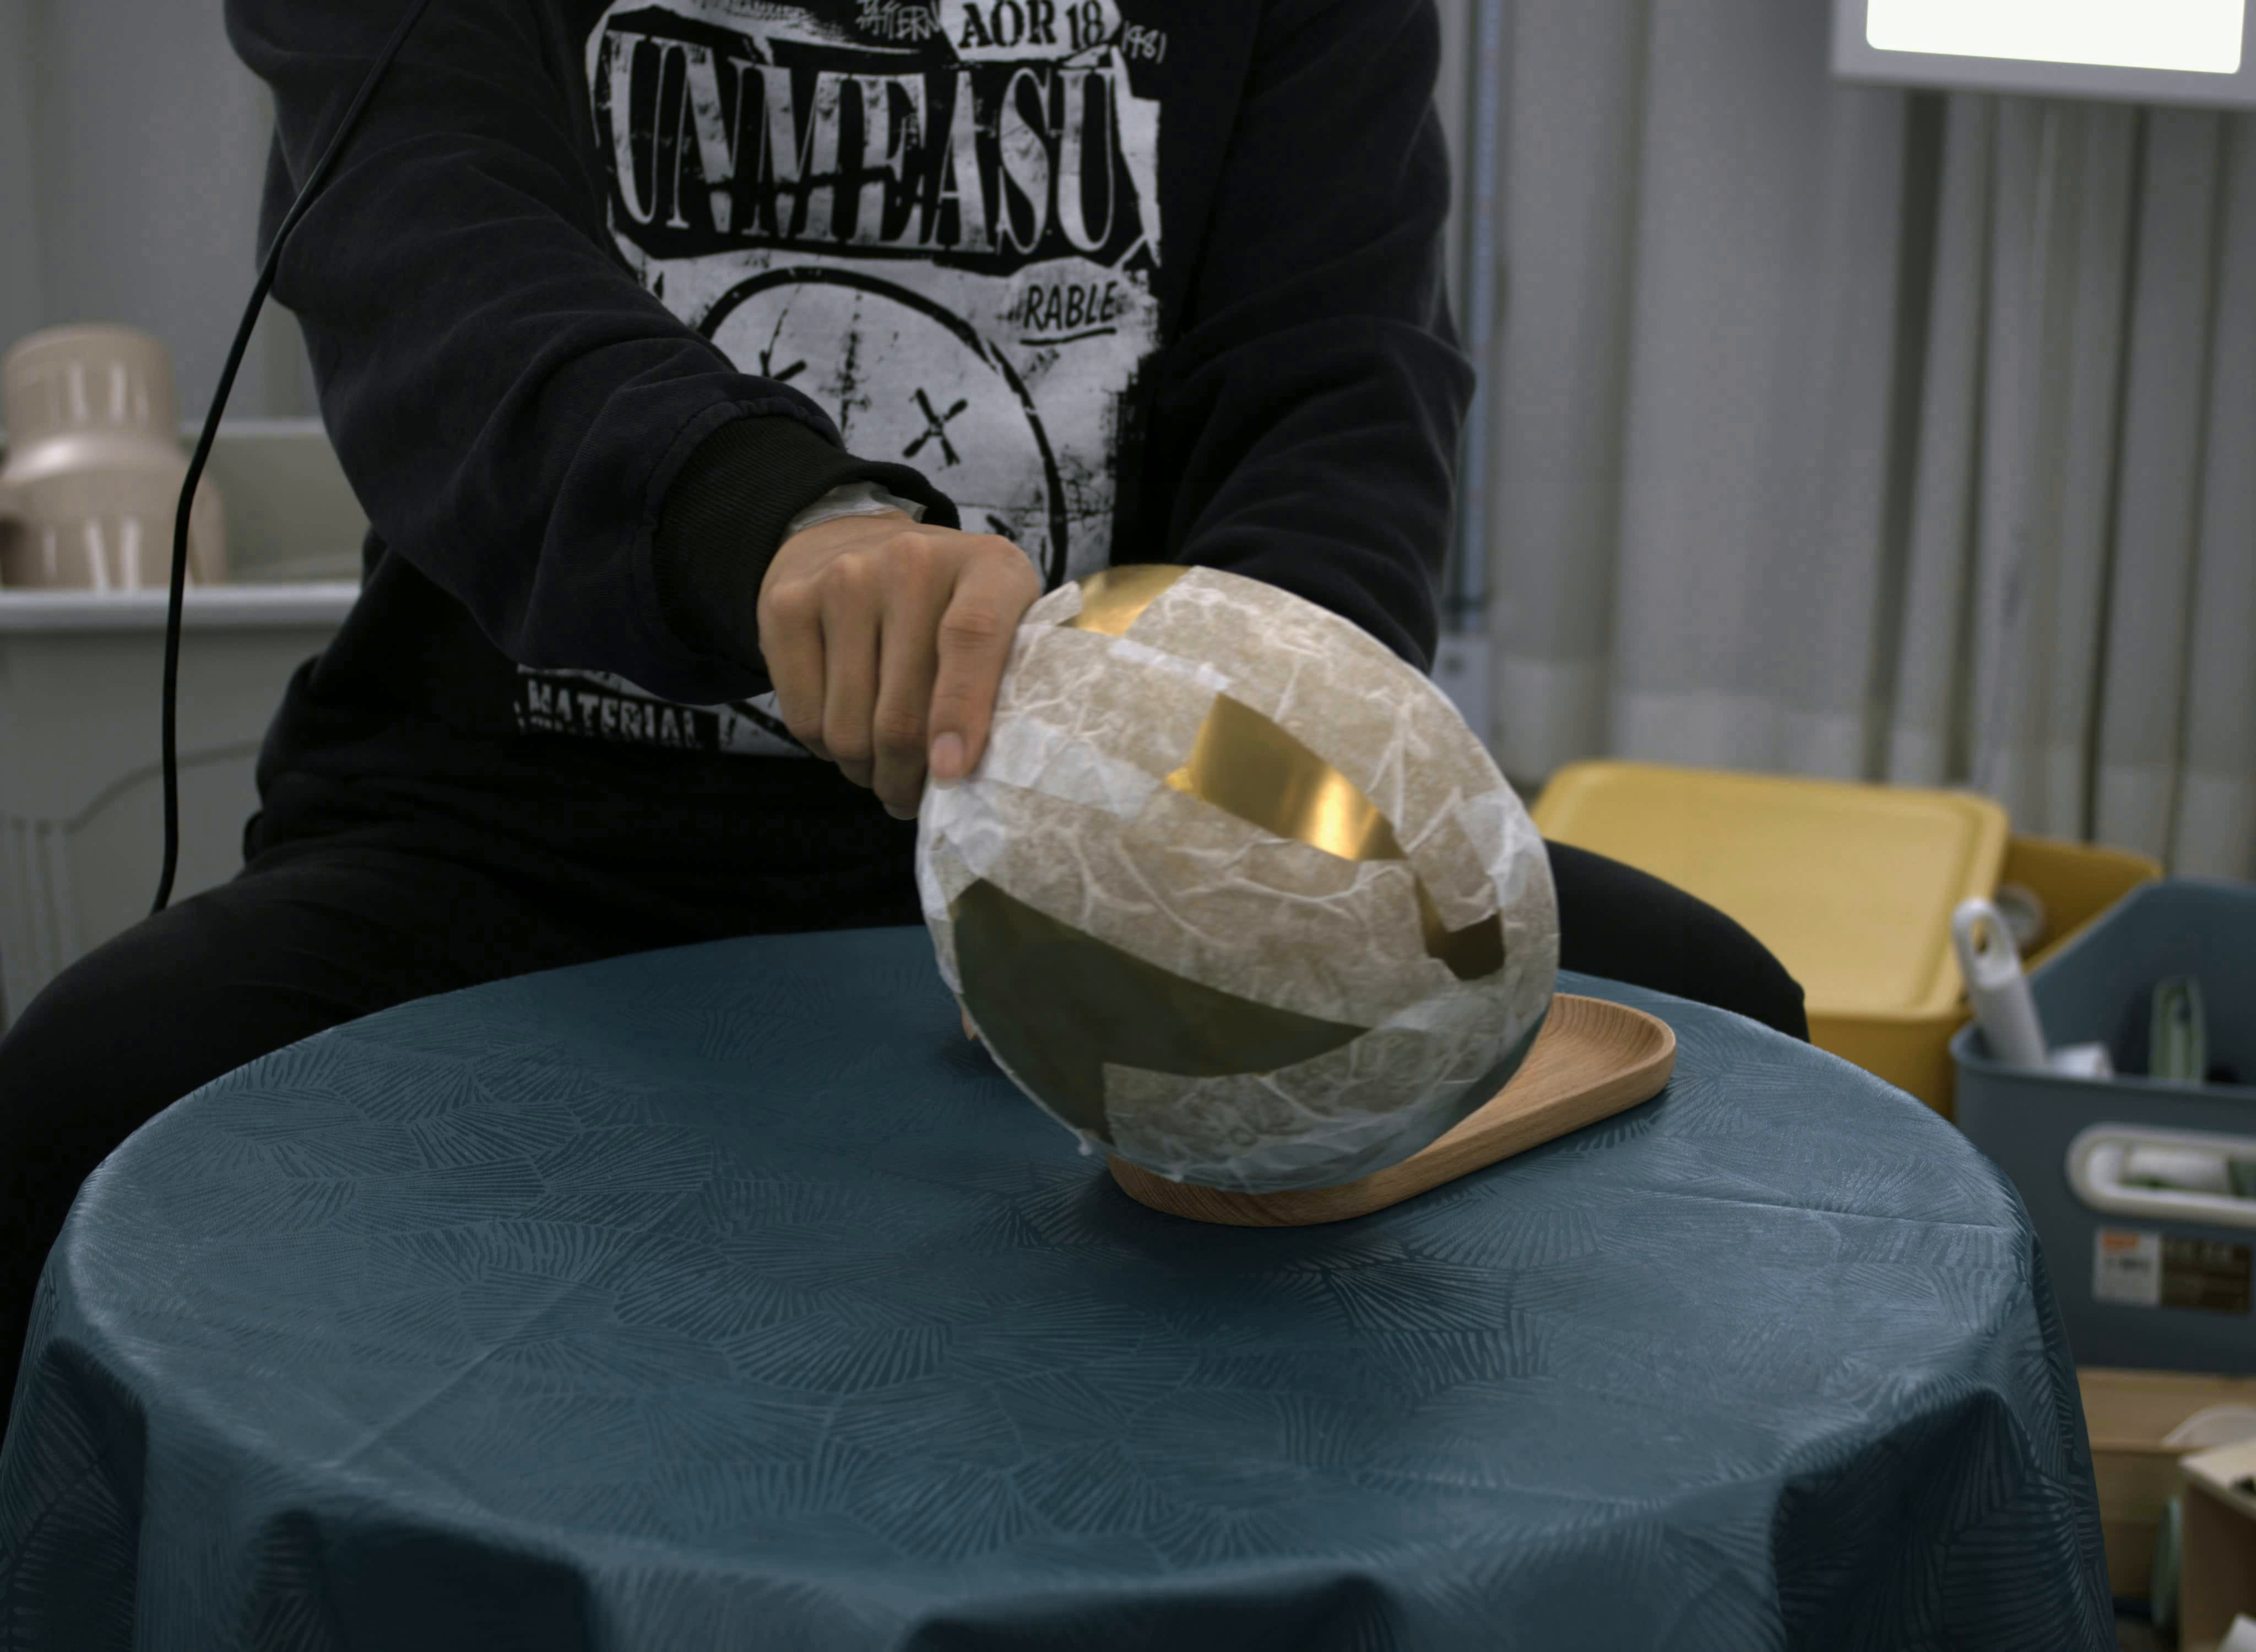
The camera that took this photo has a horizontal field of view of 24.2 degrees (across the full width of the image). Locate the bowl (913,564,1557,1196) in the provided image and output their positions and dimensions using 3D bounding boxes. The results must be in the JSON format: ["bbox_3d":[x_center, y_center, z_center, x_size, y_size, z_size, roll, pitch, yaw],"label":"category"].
[{"bbox_3d":[0.014,0.035,1.526,0.212,0.217,0.094,11,41,30],"label":"bowl"}]

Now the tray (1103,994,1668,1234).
[{"bbox_3d":[0.085,0.090,1.682,0.100,0.020,0.232,11,21,38],"label":"tray"}]
